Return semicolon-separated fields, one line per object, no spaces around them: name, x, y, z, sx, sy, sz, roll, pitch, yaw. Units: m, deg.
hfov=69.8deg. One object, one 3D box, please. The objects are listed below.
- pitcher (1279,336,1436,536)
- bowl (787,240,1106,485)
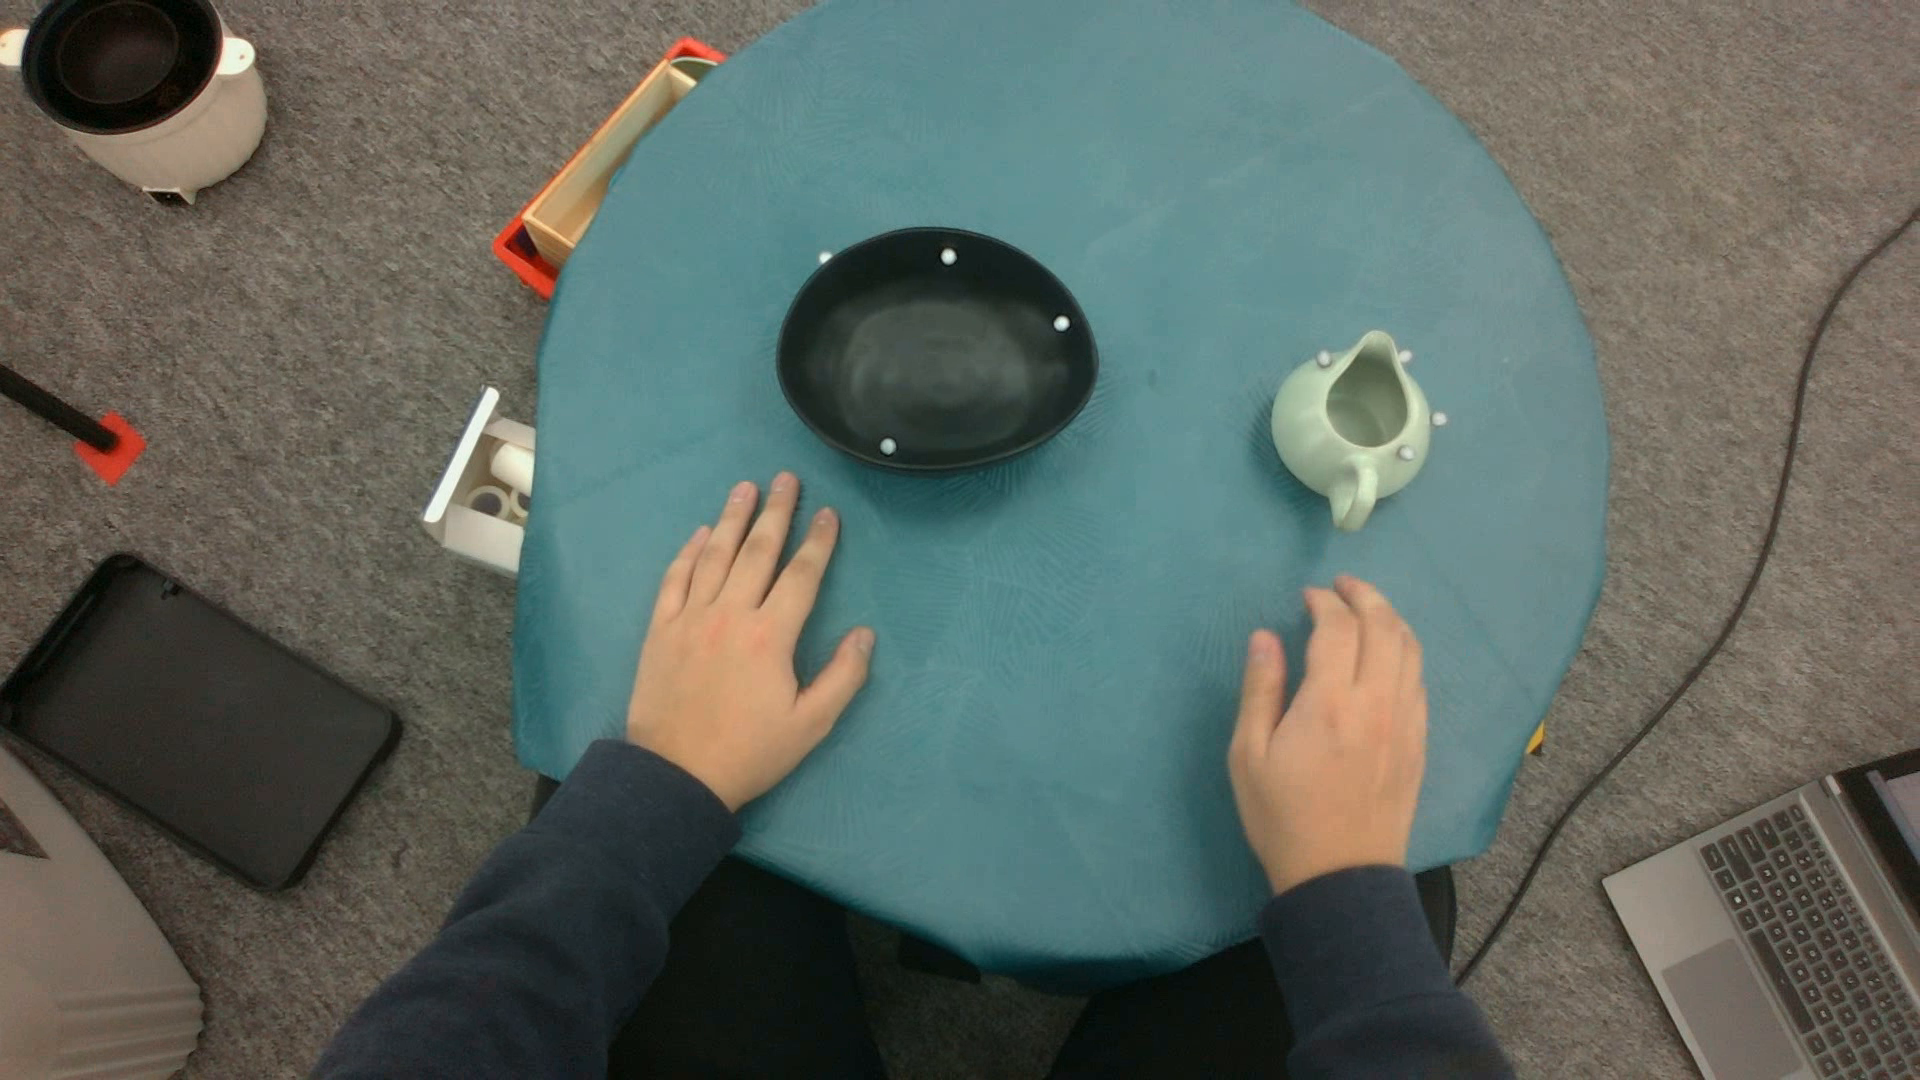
pitcher;0.219;-0.052;0.752;0.086;0.060;0.108;7;75;2
bowl;-0.007;-0.089;0.754;0.170;0.066;0.137;-2;74;-3
